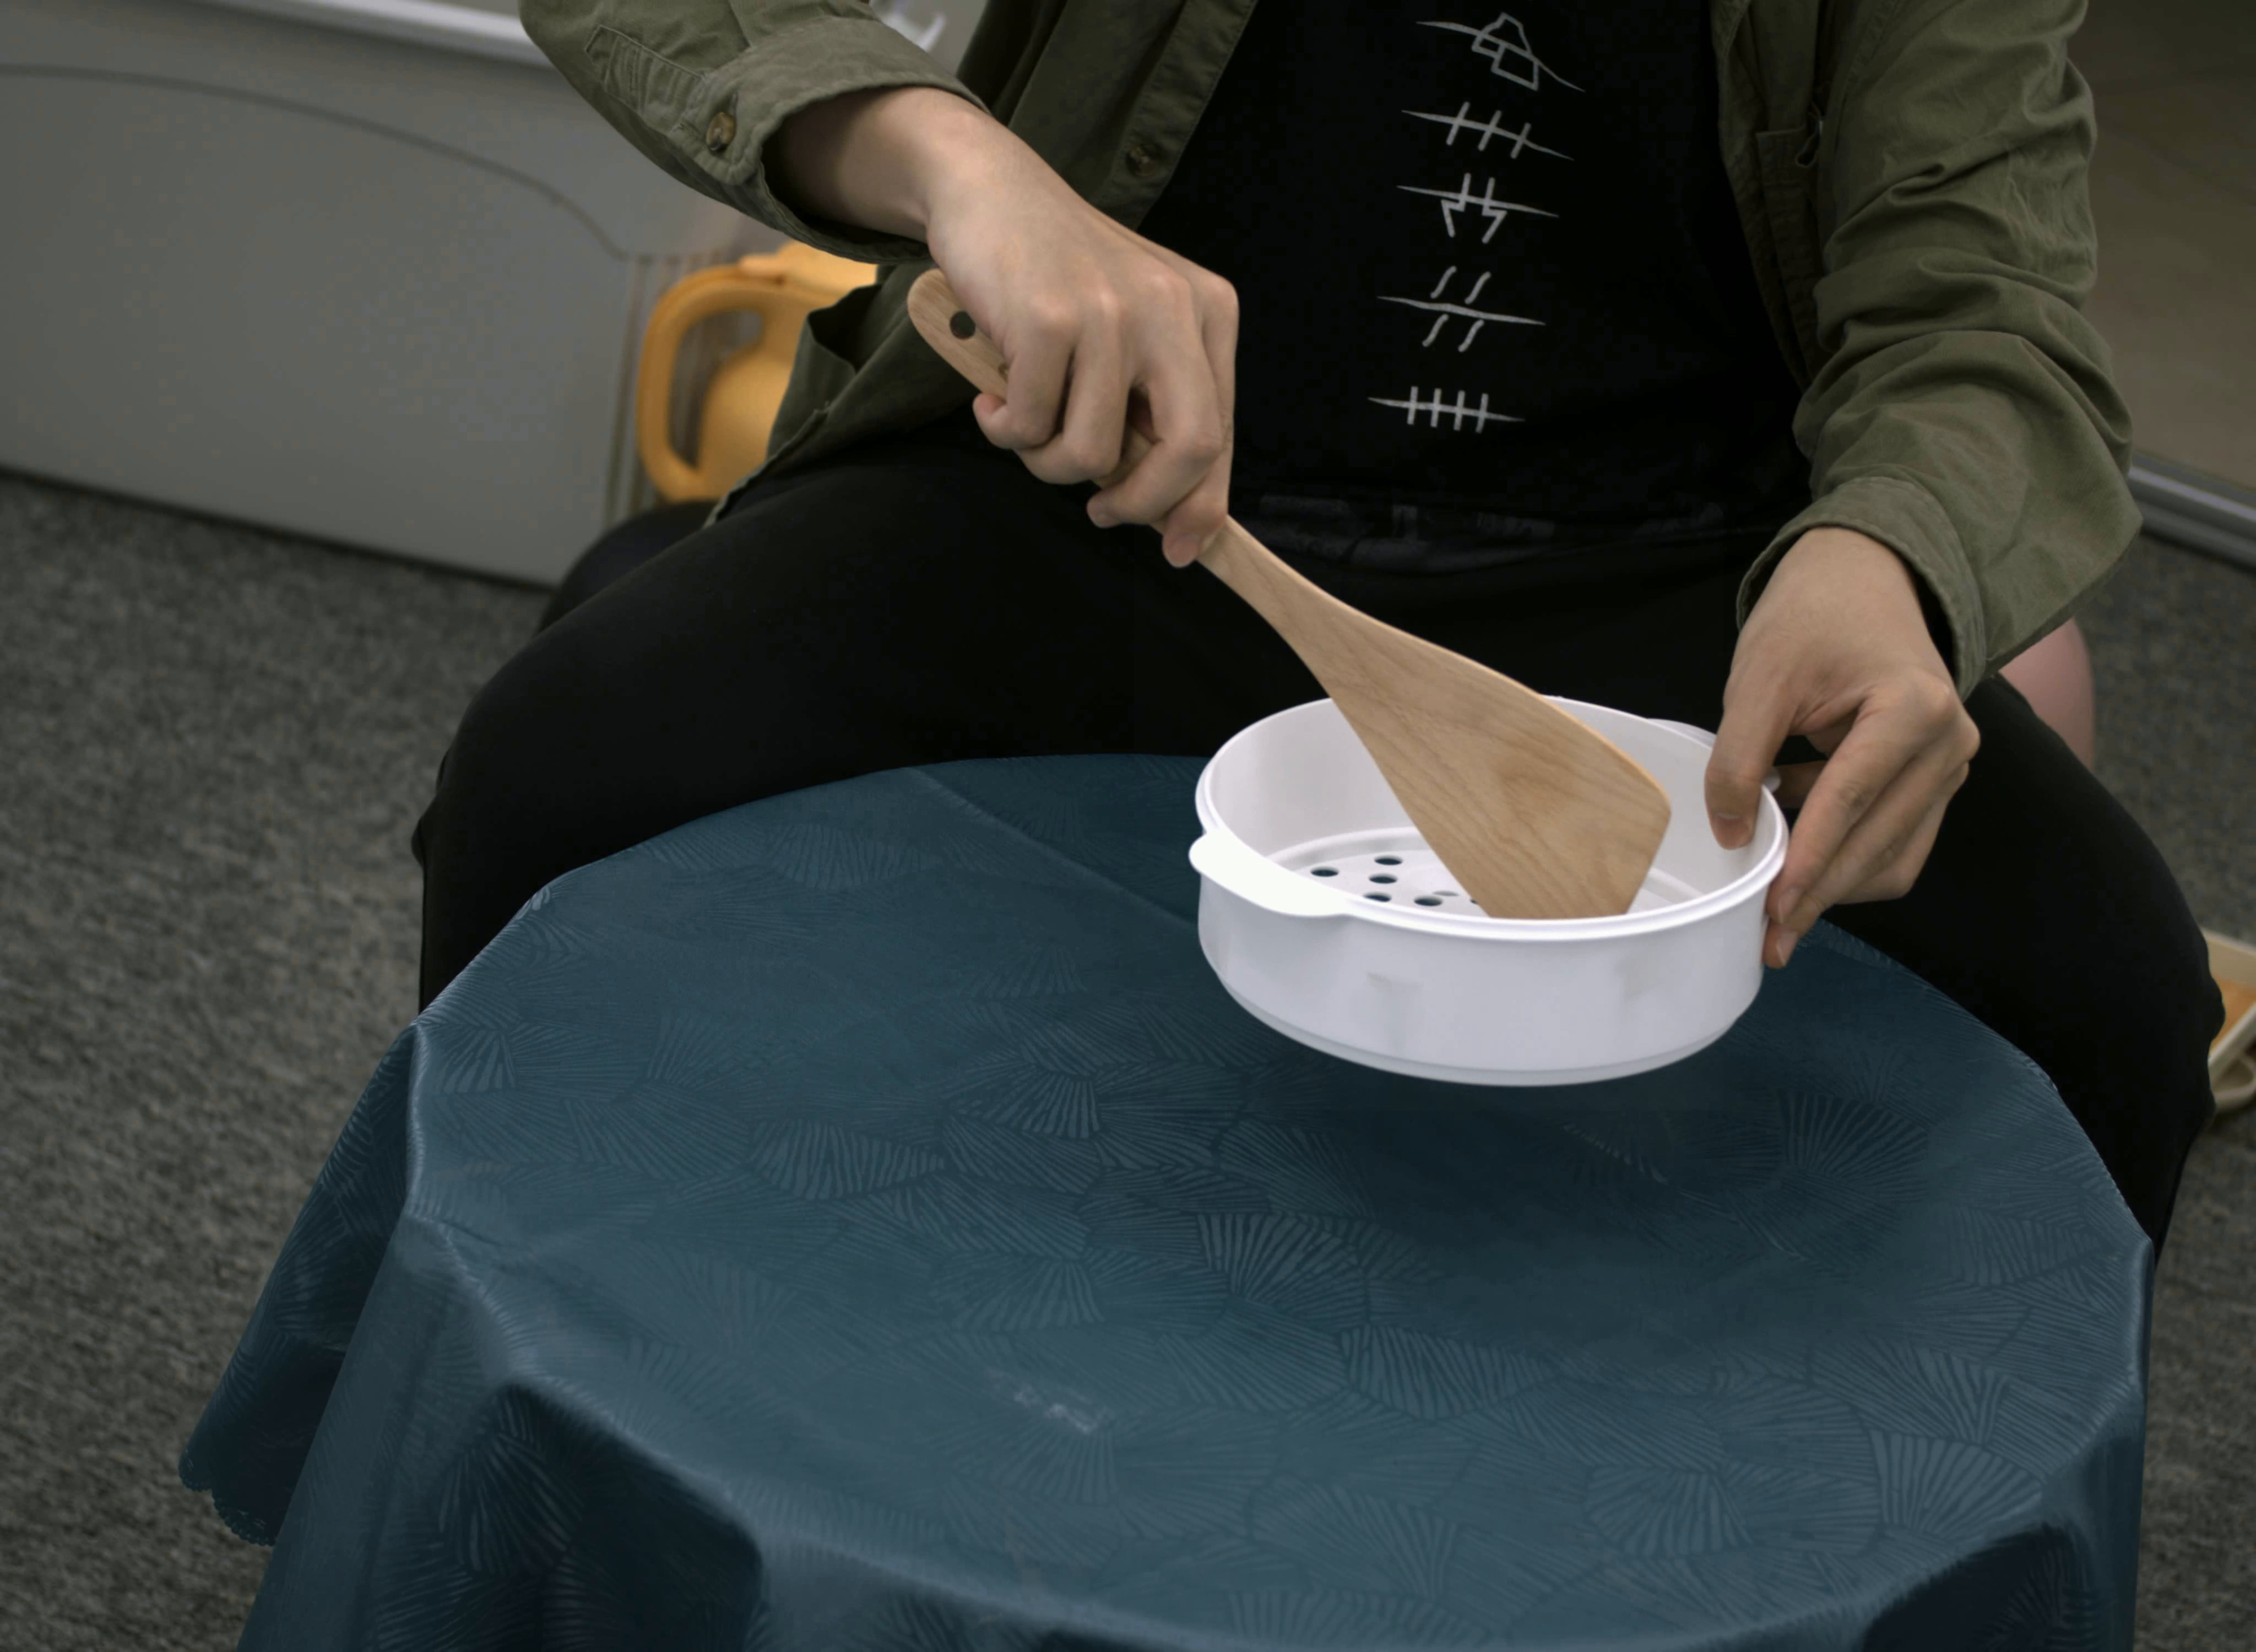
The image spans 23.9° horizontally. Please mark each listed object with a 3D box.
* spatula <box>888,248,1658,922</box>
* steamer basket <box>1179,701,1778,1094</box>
[{"bbox_3d":[0.044,-0.086,1.783,0.328,0.080,0.016,40,28,8],"label":"spatula"},{"bbox_3d":[0.117,0.024,1.812,0.229,0.069,0.203,-13,28,-35],"label":"steamer basket"}]
